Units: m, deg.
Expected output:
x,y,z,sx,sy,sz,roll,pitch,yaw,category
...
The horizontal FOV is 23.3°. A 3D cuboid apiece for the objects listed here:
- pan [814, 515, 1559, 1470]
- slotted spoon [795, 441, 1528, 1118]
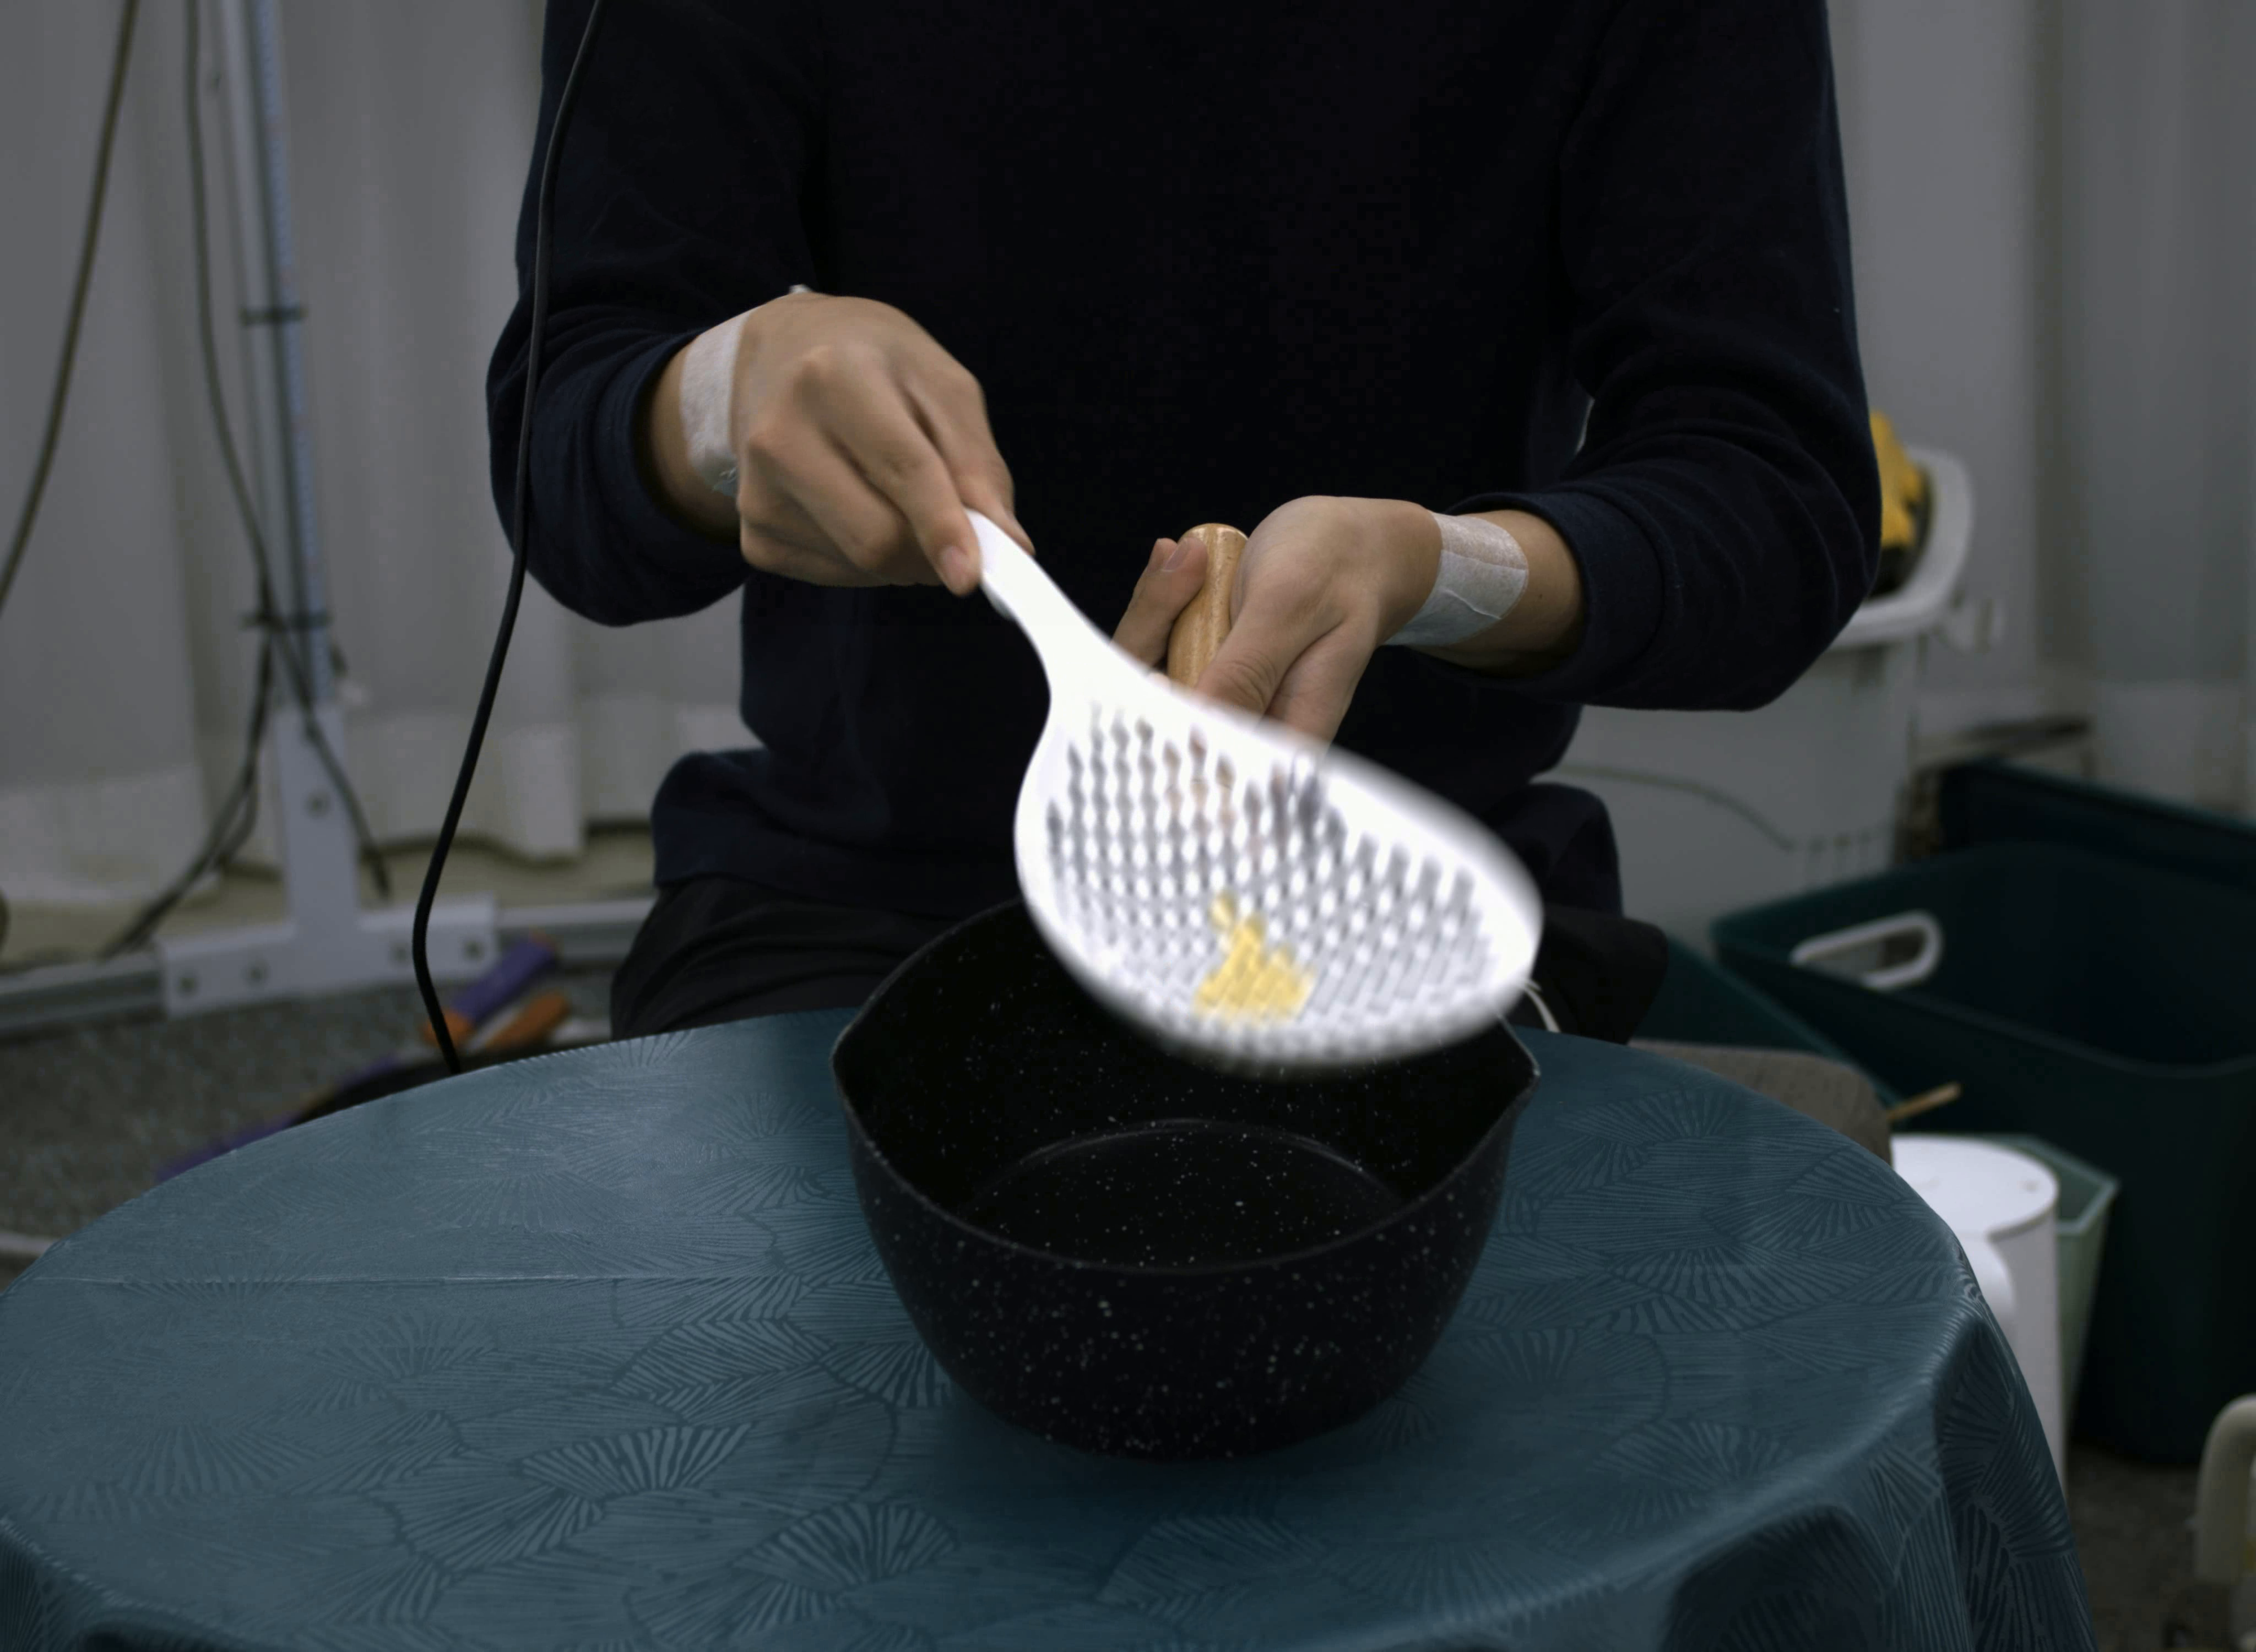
x,y,z,sx,sy,sz,roll,pitch,yaw,category
0.018,0.044,1.589,0.207,0.107,0.347,0,35,2,pan
-0.011,-0.024,1.540,0.136,0.050,0.353,-6,42,-27,slotted spoon
